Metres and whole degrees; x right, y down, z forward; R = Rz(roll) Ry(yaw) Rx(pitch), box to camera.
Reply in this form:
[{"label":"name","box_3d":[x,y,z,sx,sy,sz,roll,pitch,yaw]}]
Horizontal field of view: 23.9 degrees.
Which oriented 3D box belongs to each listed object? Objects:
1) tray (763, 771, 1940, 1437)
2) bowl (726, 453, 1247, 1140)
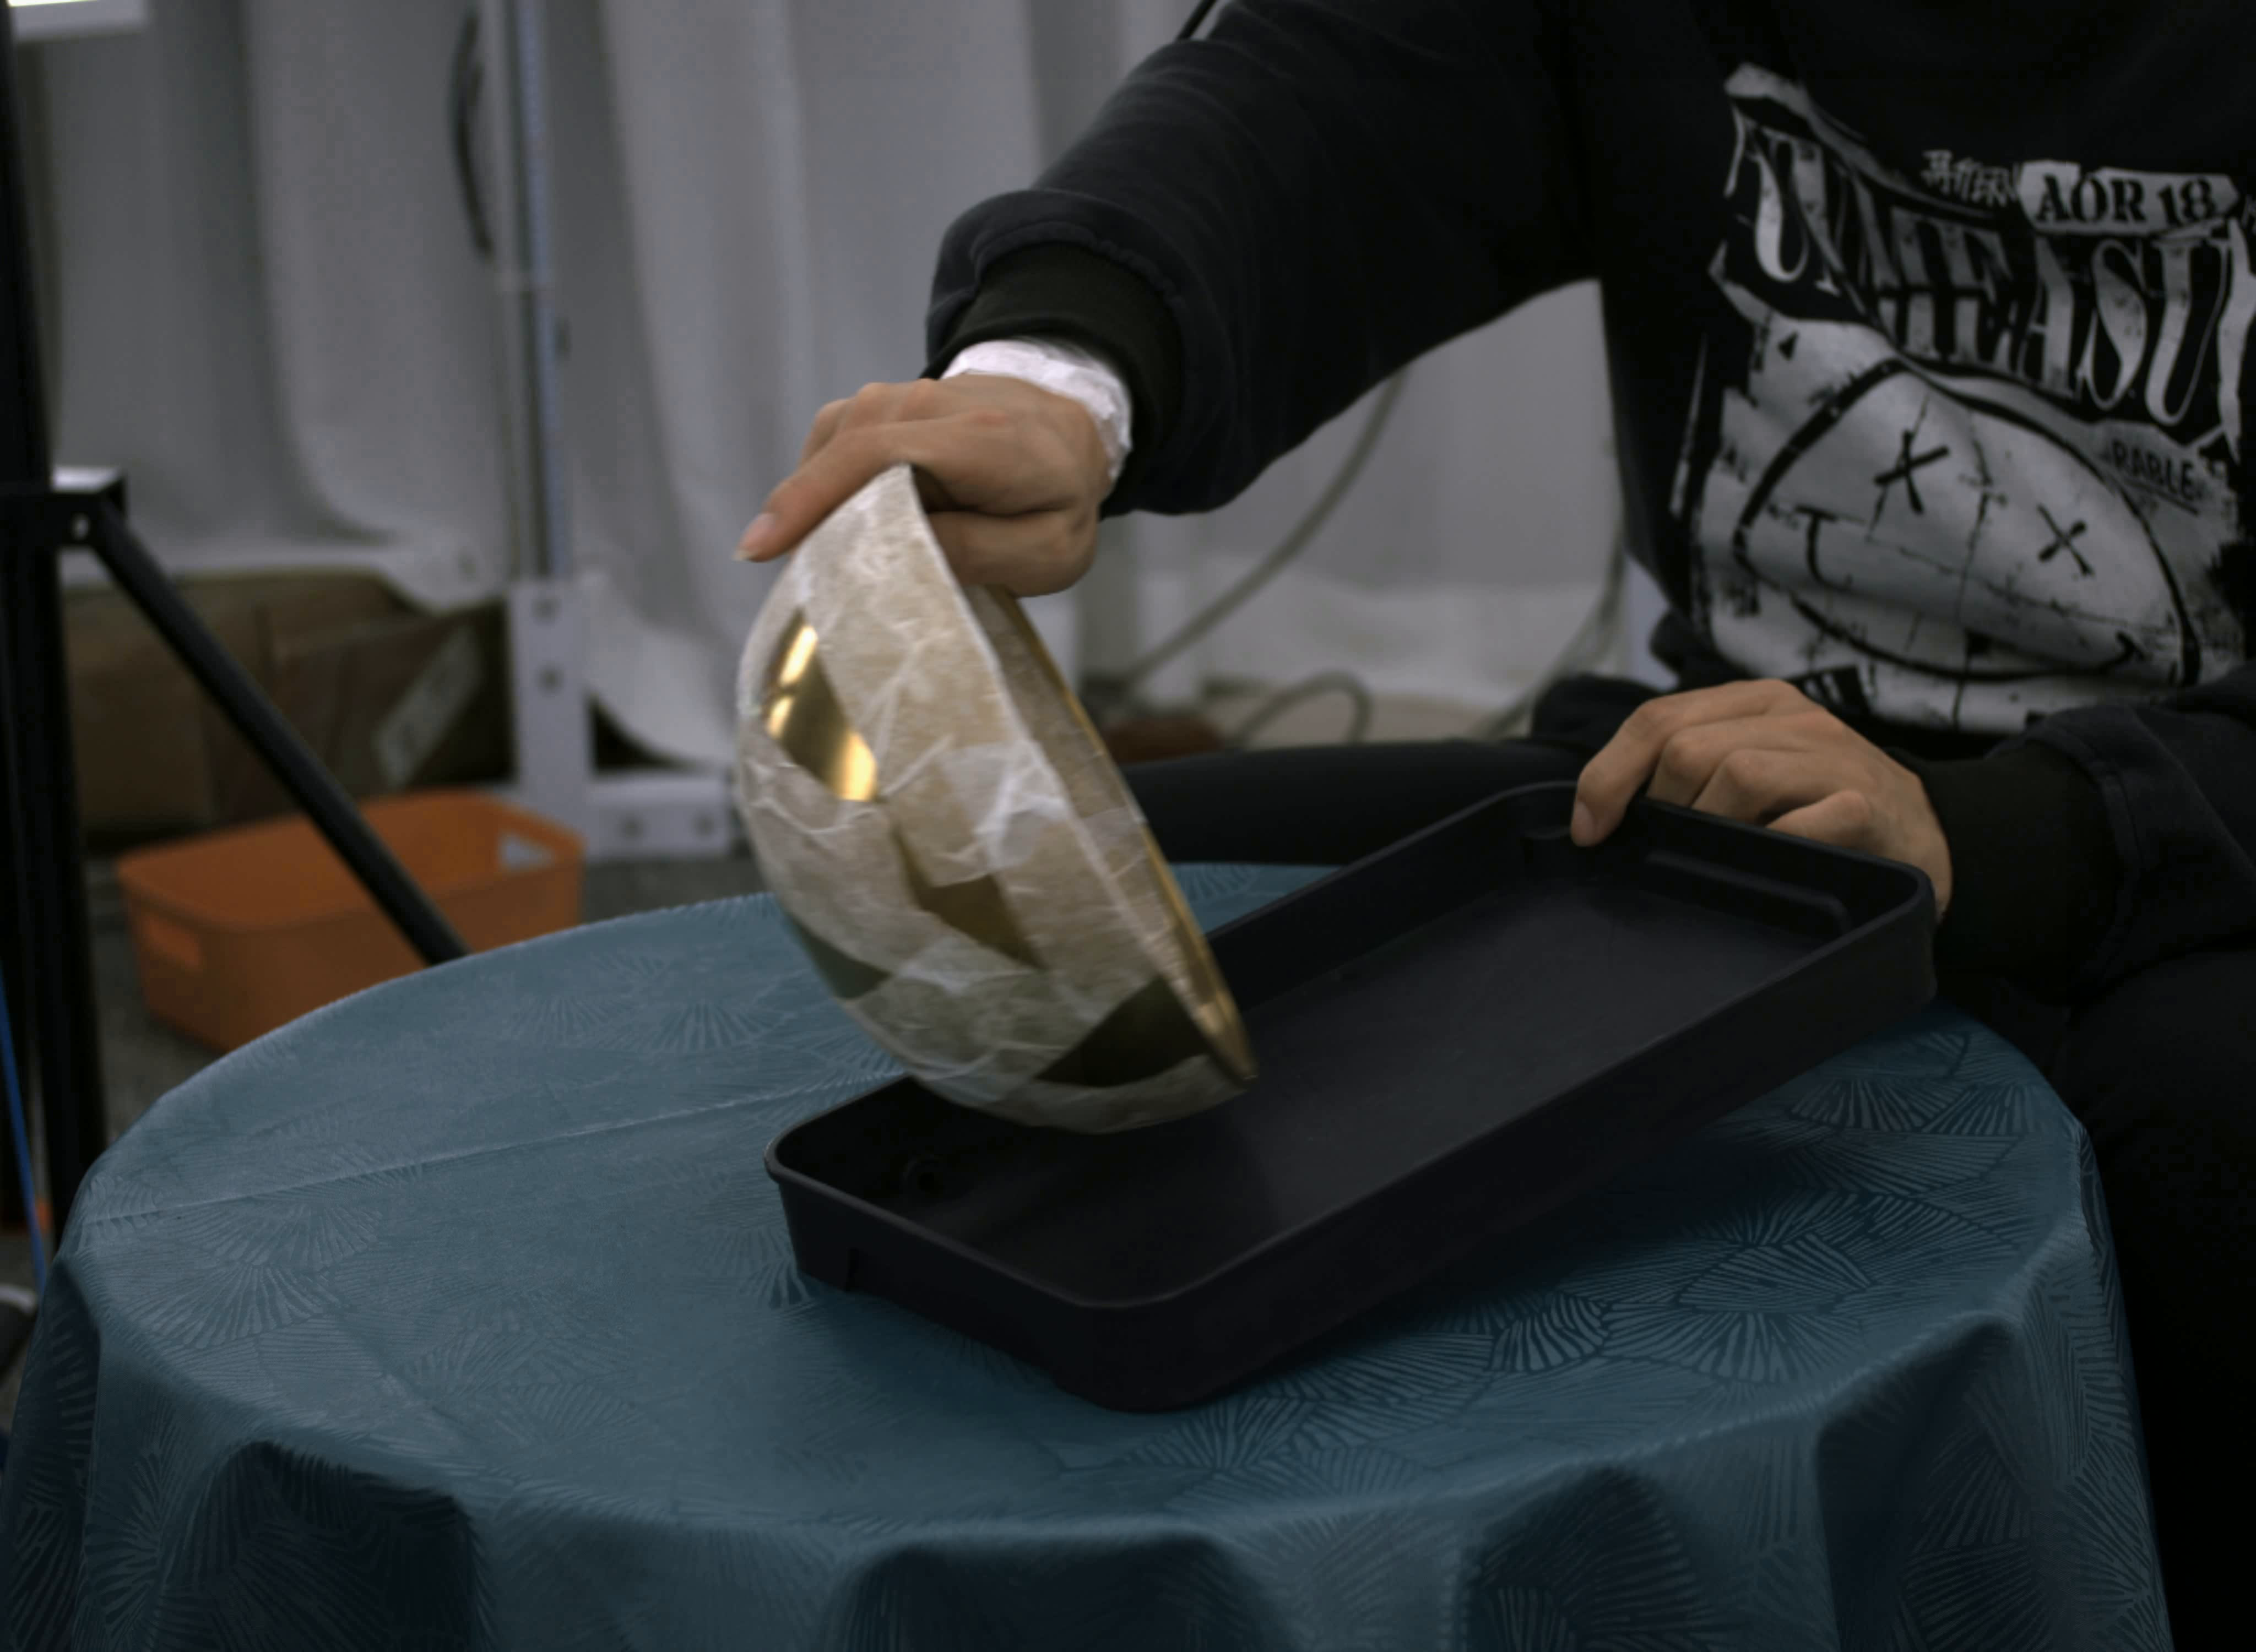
[{"label":"tray","box_3d":[0.068,0.073,1.524,0.312,0.037,0.188,-25,26,-28]},{"label":"bowl","box_3d":[-0.051,0.009,1.485,0.094,0.213,0.216,-29,15,4]}]
